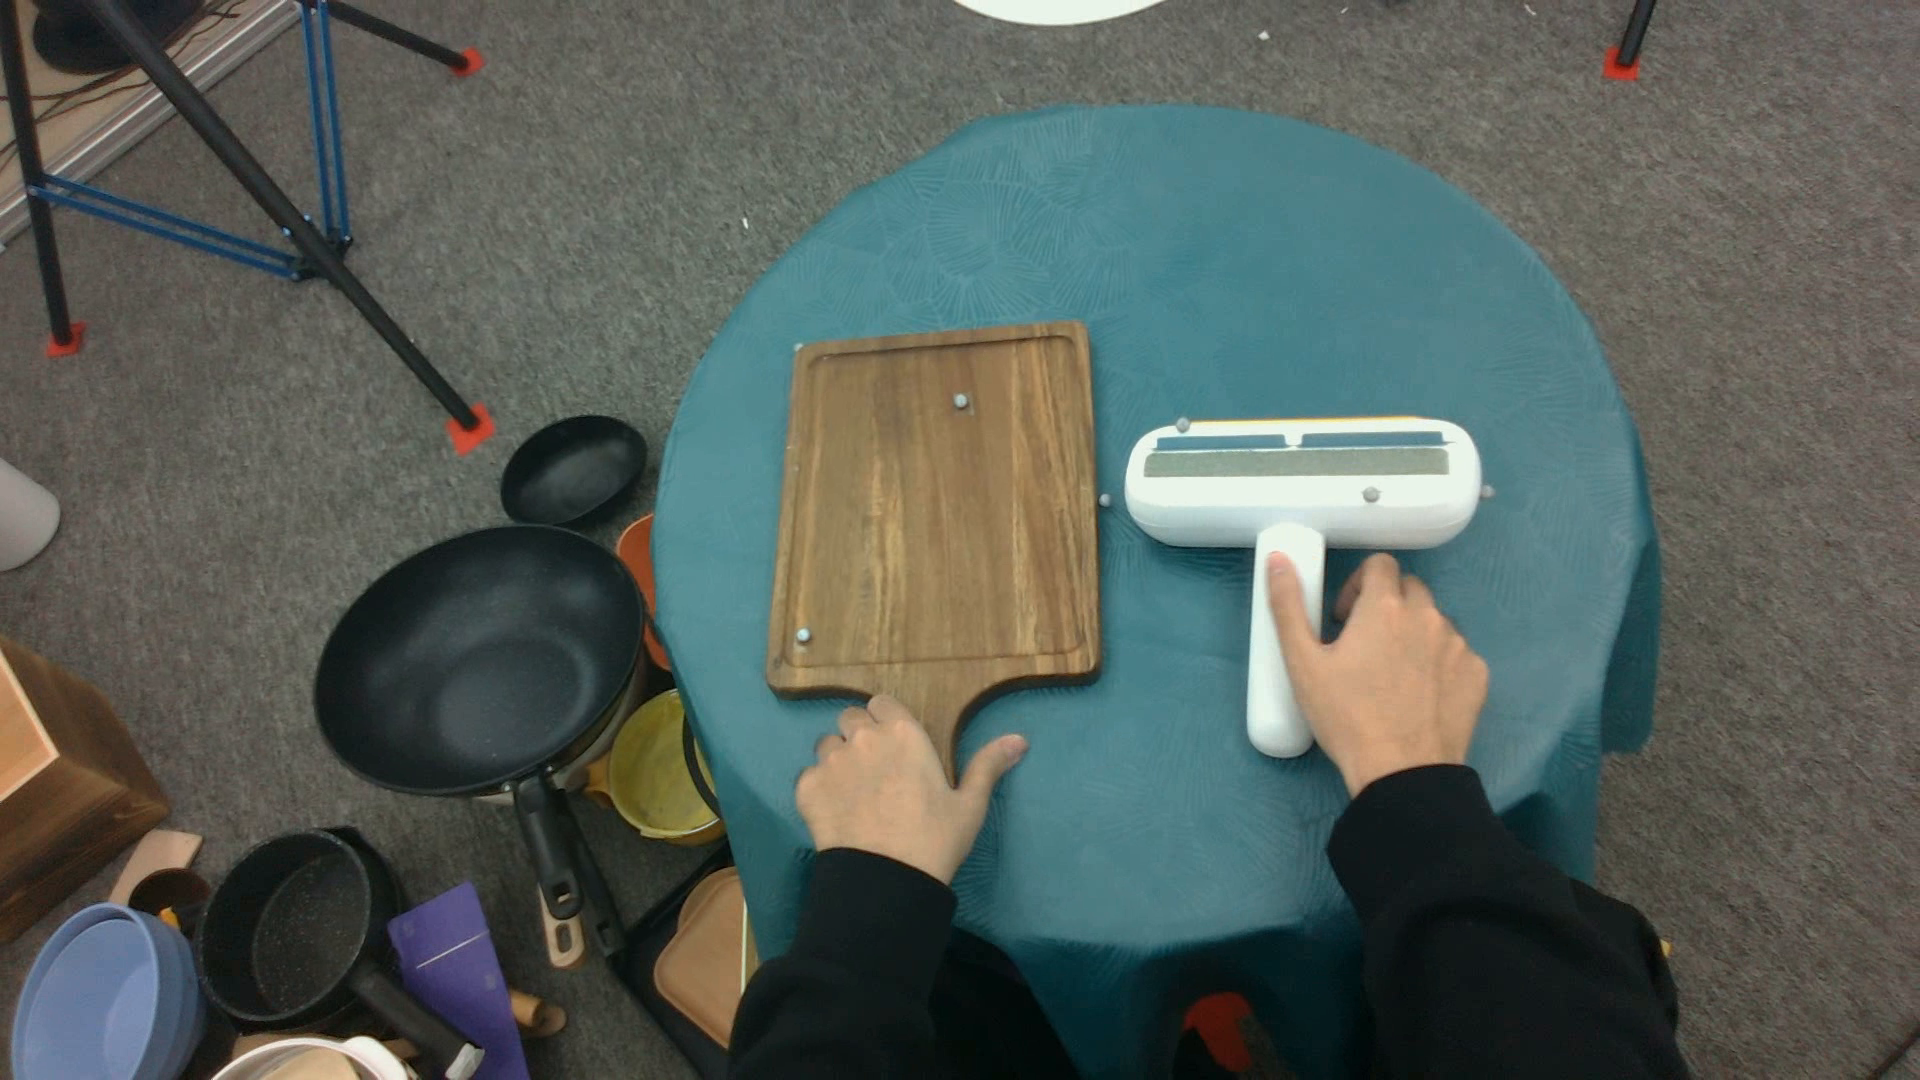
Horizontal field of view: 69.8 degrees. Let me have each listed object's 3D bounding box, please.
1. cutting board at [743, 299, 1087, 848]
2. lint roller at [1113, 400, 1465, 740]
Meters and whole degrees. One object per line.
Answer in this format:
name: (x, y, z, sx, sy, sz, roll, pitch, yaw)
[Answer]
cutting board: (-0.029, 0.008, 0.821, 0.201, 0.023, 0.353, -5, 61, 6)
lint roller: (0.171, 0.013, 0.760, 0.192, 0.074, 0.193, 6, 64, 18)
